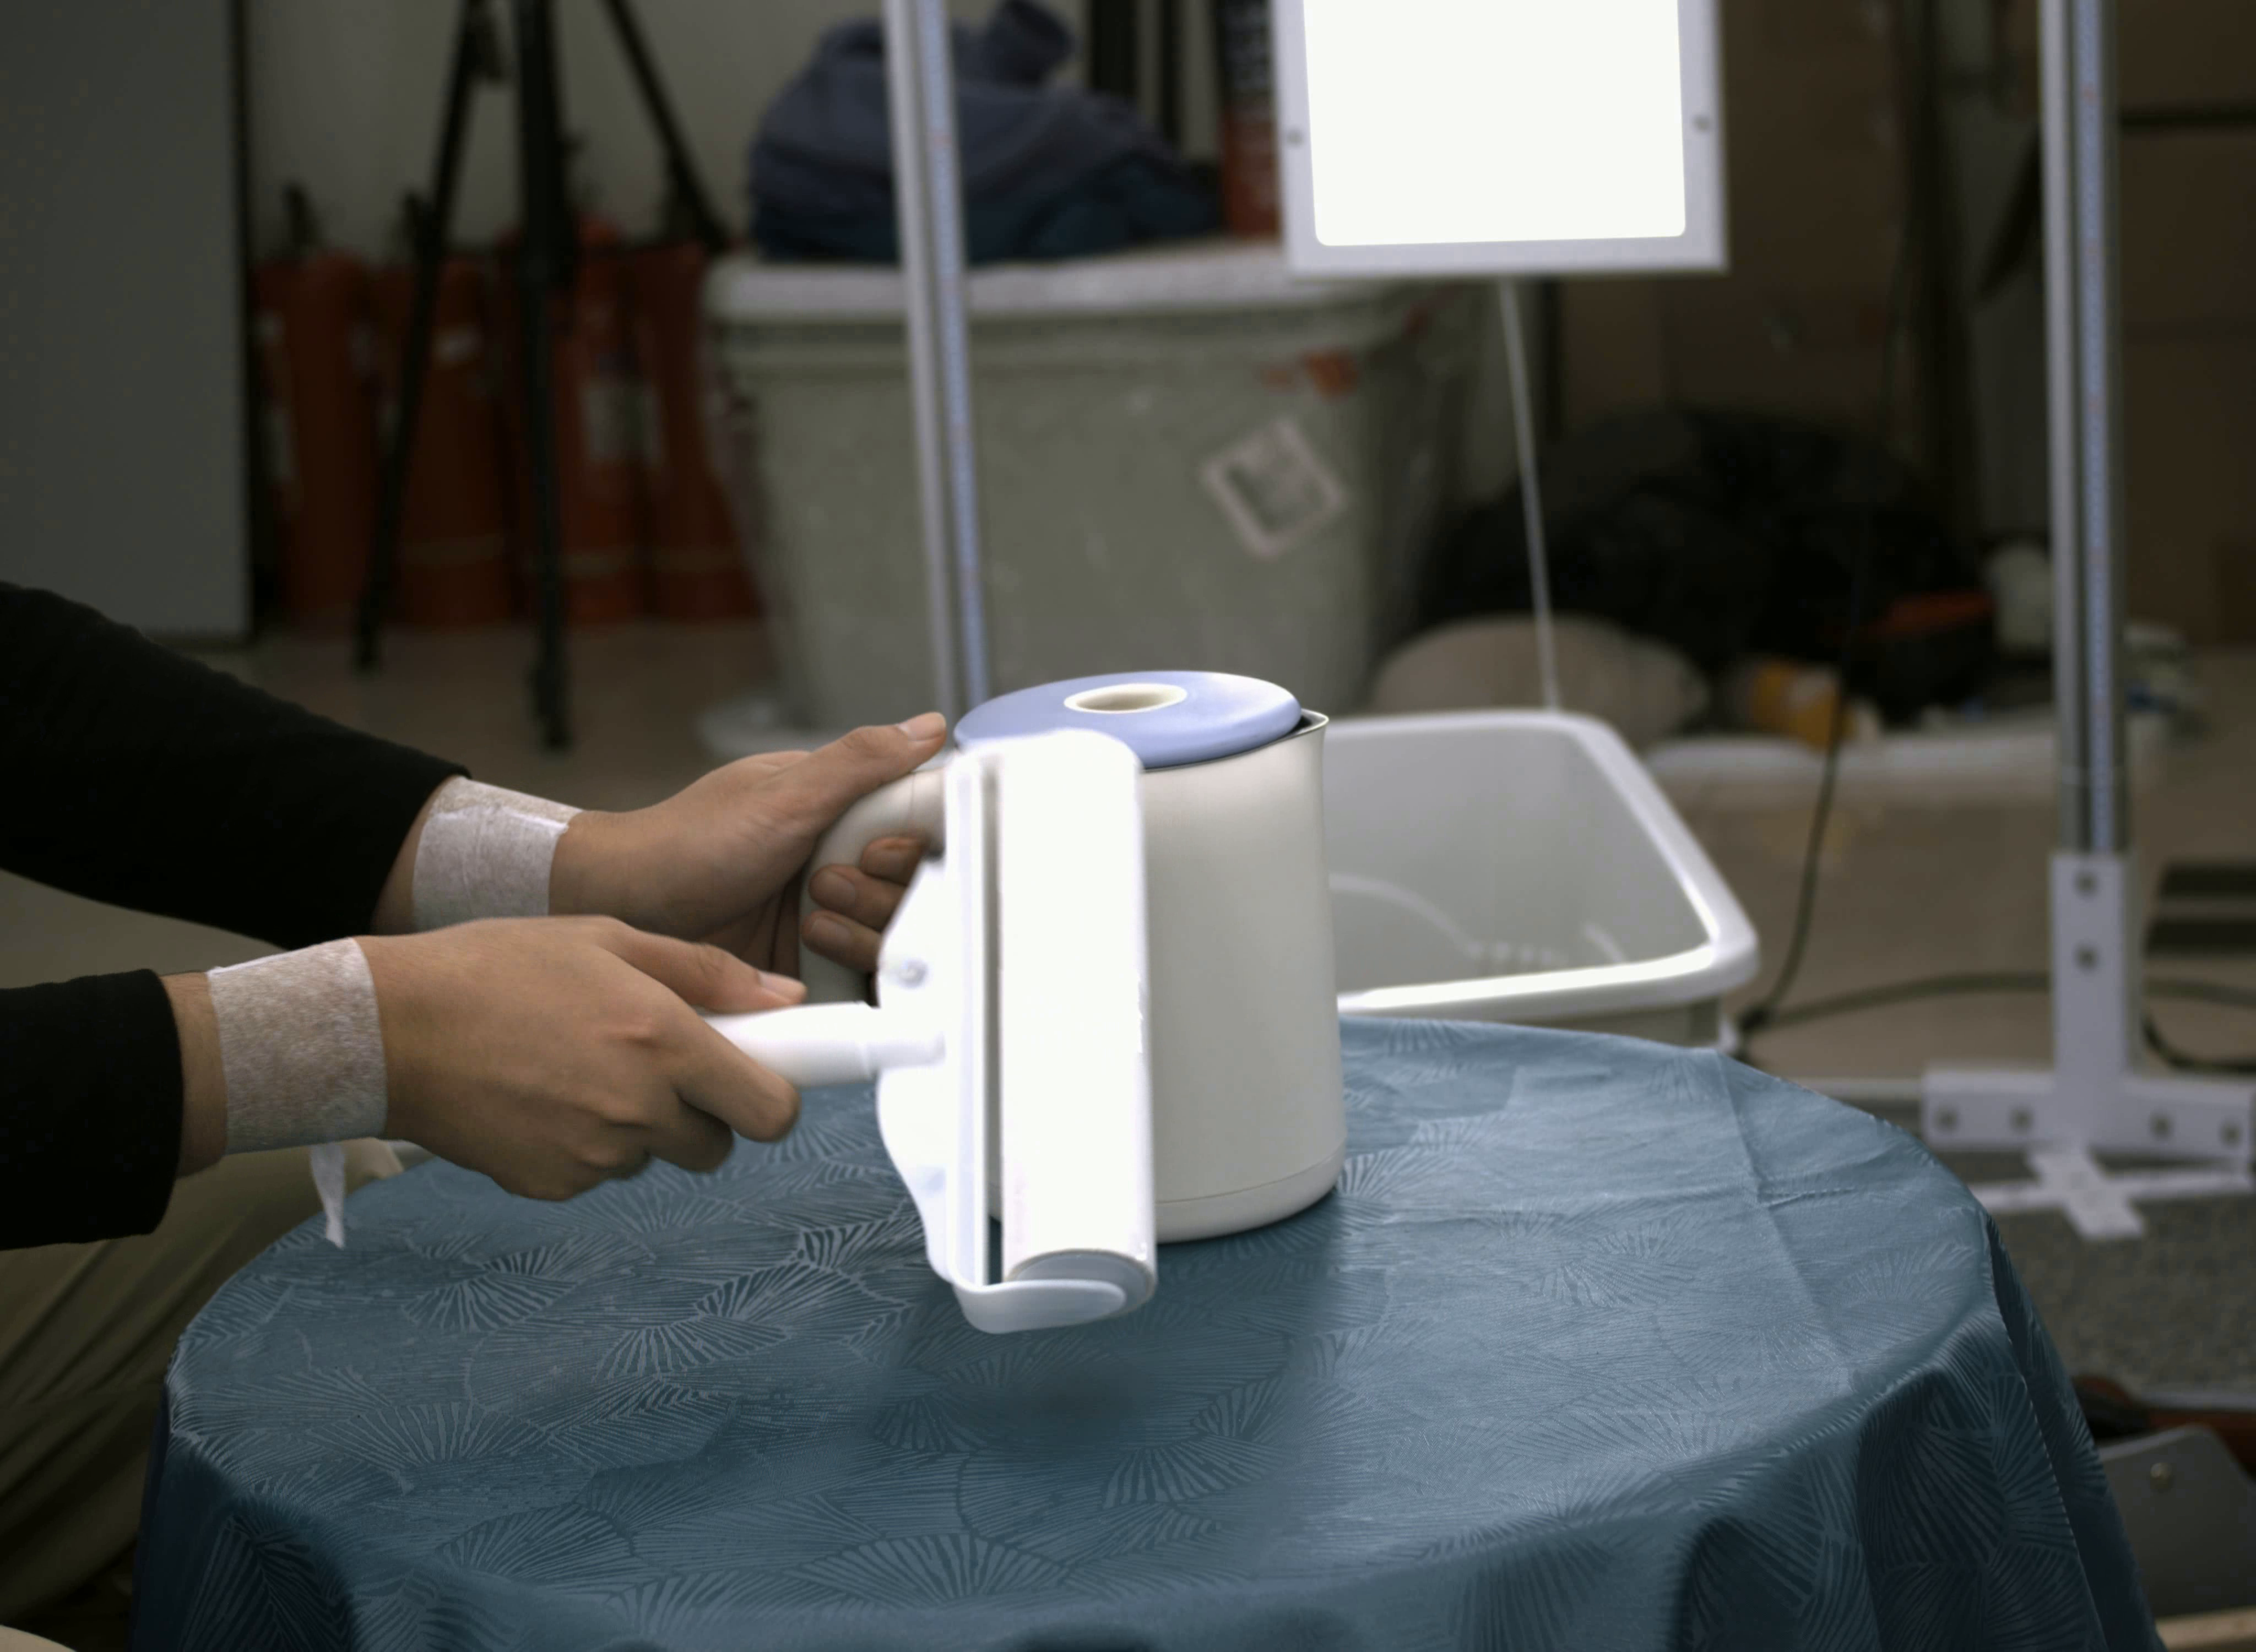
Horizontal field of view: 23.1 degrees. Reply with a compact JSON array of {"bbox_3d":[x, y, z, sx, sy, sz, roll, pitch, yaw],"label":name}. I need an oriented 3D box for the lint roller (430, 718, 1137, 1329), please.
[{"bbox_3d":[-0.110,0.065,1.734,0.226,0.202,0.048,-5,-29,5],"label":"lint roller"}]

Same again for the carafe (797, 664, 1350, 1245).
[{"bbox_3d":[-0.019,0.045,1.877,0.191,0.183,0.131,-5,13,7],"label":"carafe"}]
